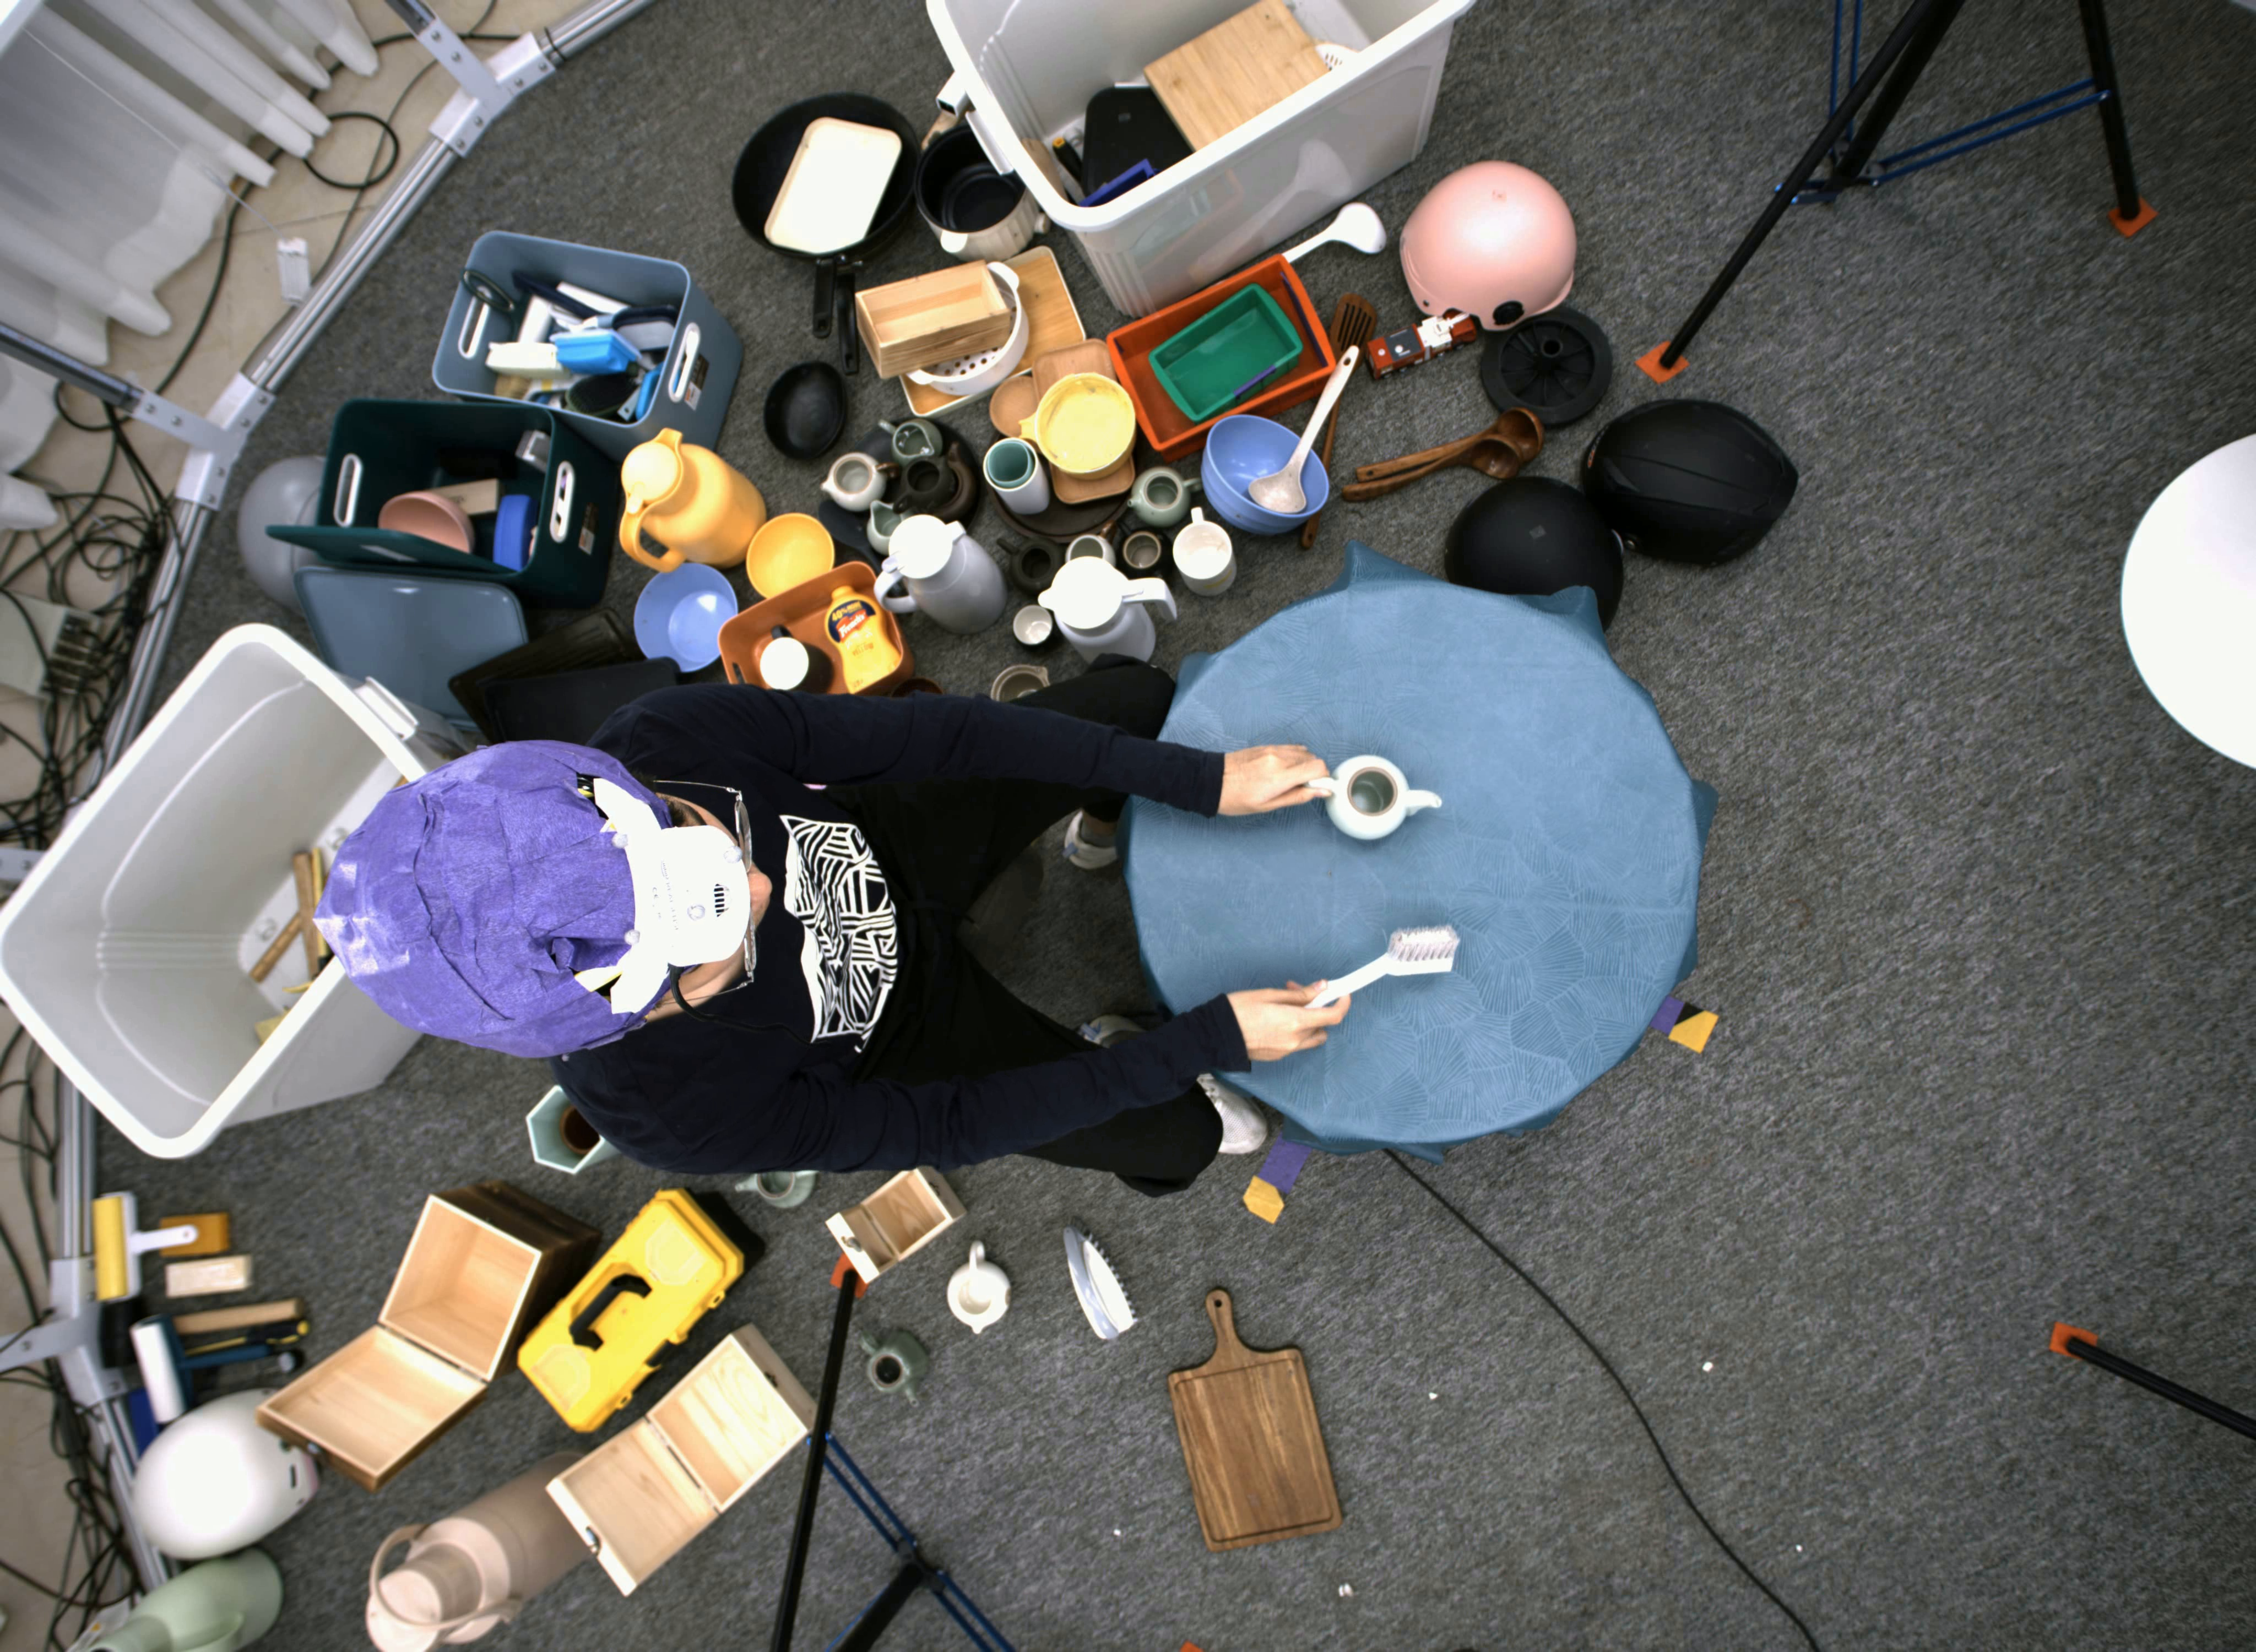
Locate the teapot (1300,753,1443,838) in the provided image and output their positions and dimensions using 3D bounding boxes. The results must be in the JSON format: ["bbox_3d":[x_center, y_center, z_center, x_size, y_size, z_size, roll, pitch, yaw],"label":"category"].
[{"bbox_3d":[0.247,-0.033,1.425,0.144,0.075,0.087,12,82,-1],"label":"teapot"}]

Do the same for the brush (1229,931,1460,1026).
[{"bbox_3d":[0.215,0.151,1.401,0.245,0.051,0.033,-16,40,7],"label":"brush"}]
